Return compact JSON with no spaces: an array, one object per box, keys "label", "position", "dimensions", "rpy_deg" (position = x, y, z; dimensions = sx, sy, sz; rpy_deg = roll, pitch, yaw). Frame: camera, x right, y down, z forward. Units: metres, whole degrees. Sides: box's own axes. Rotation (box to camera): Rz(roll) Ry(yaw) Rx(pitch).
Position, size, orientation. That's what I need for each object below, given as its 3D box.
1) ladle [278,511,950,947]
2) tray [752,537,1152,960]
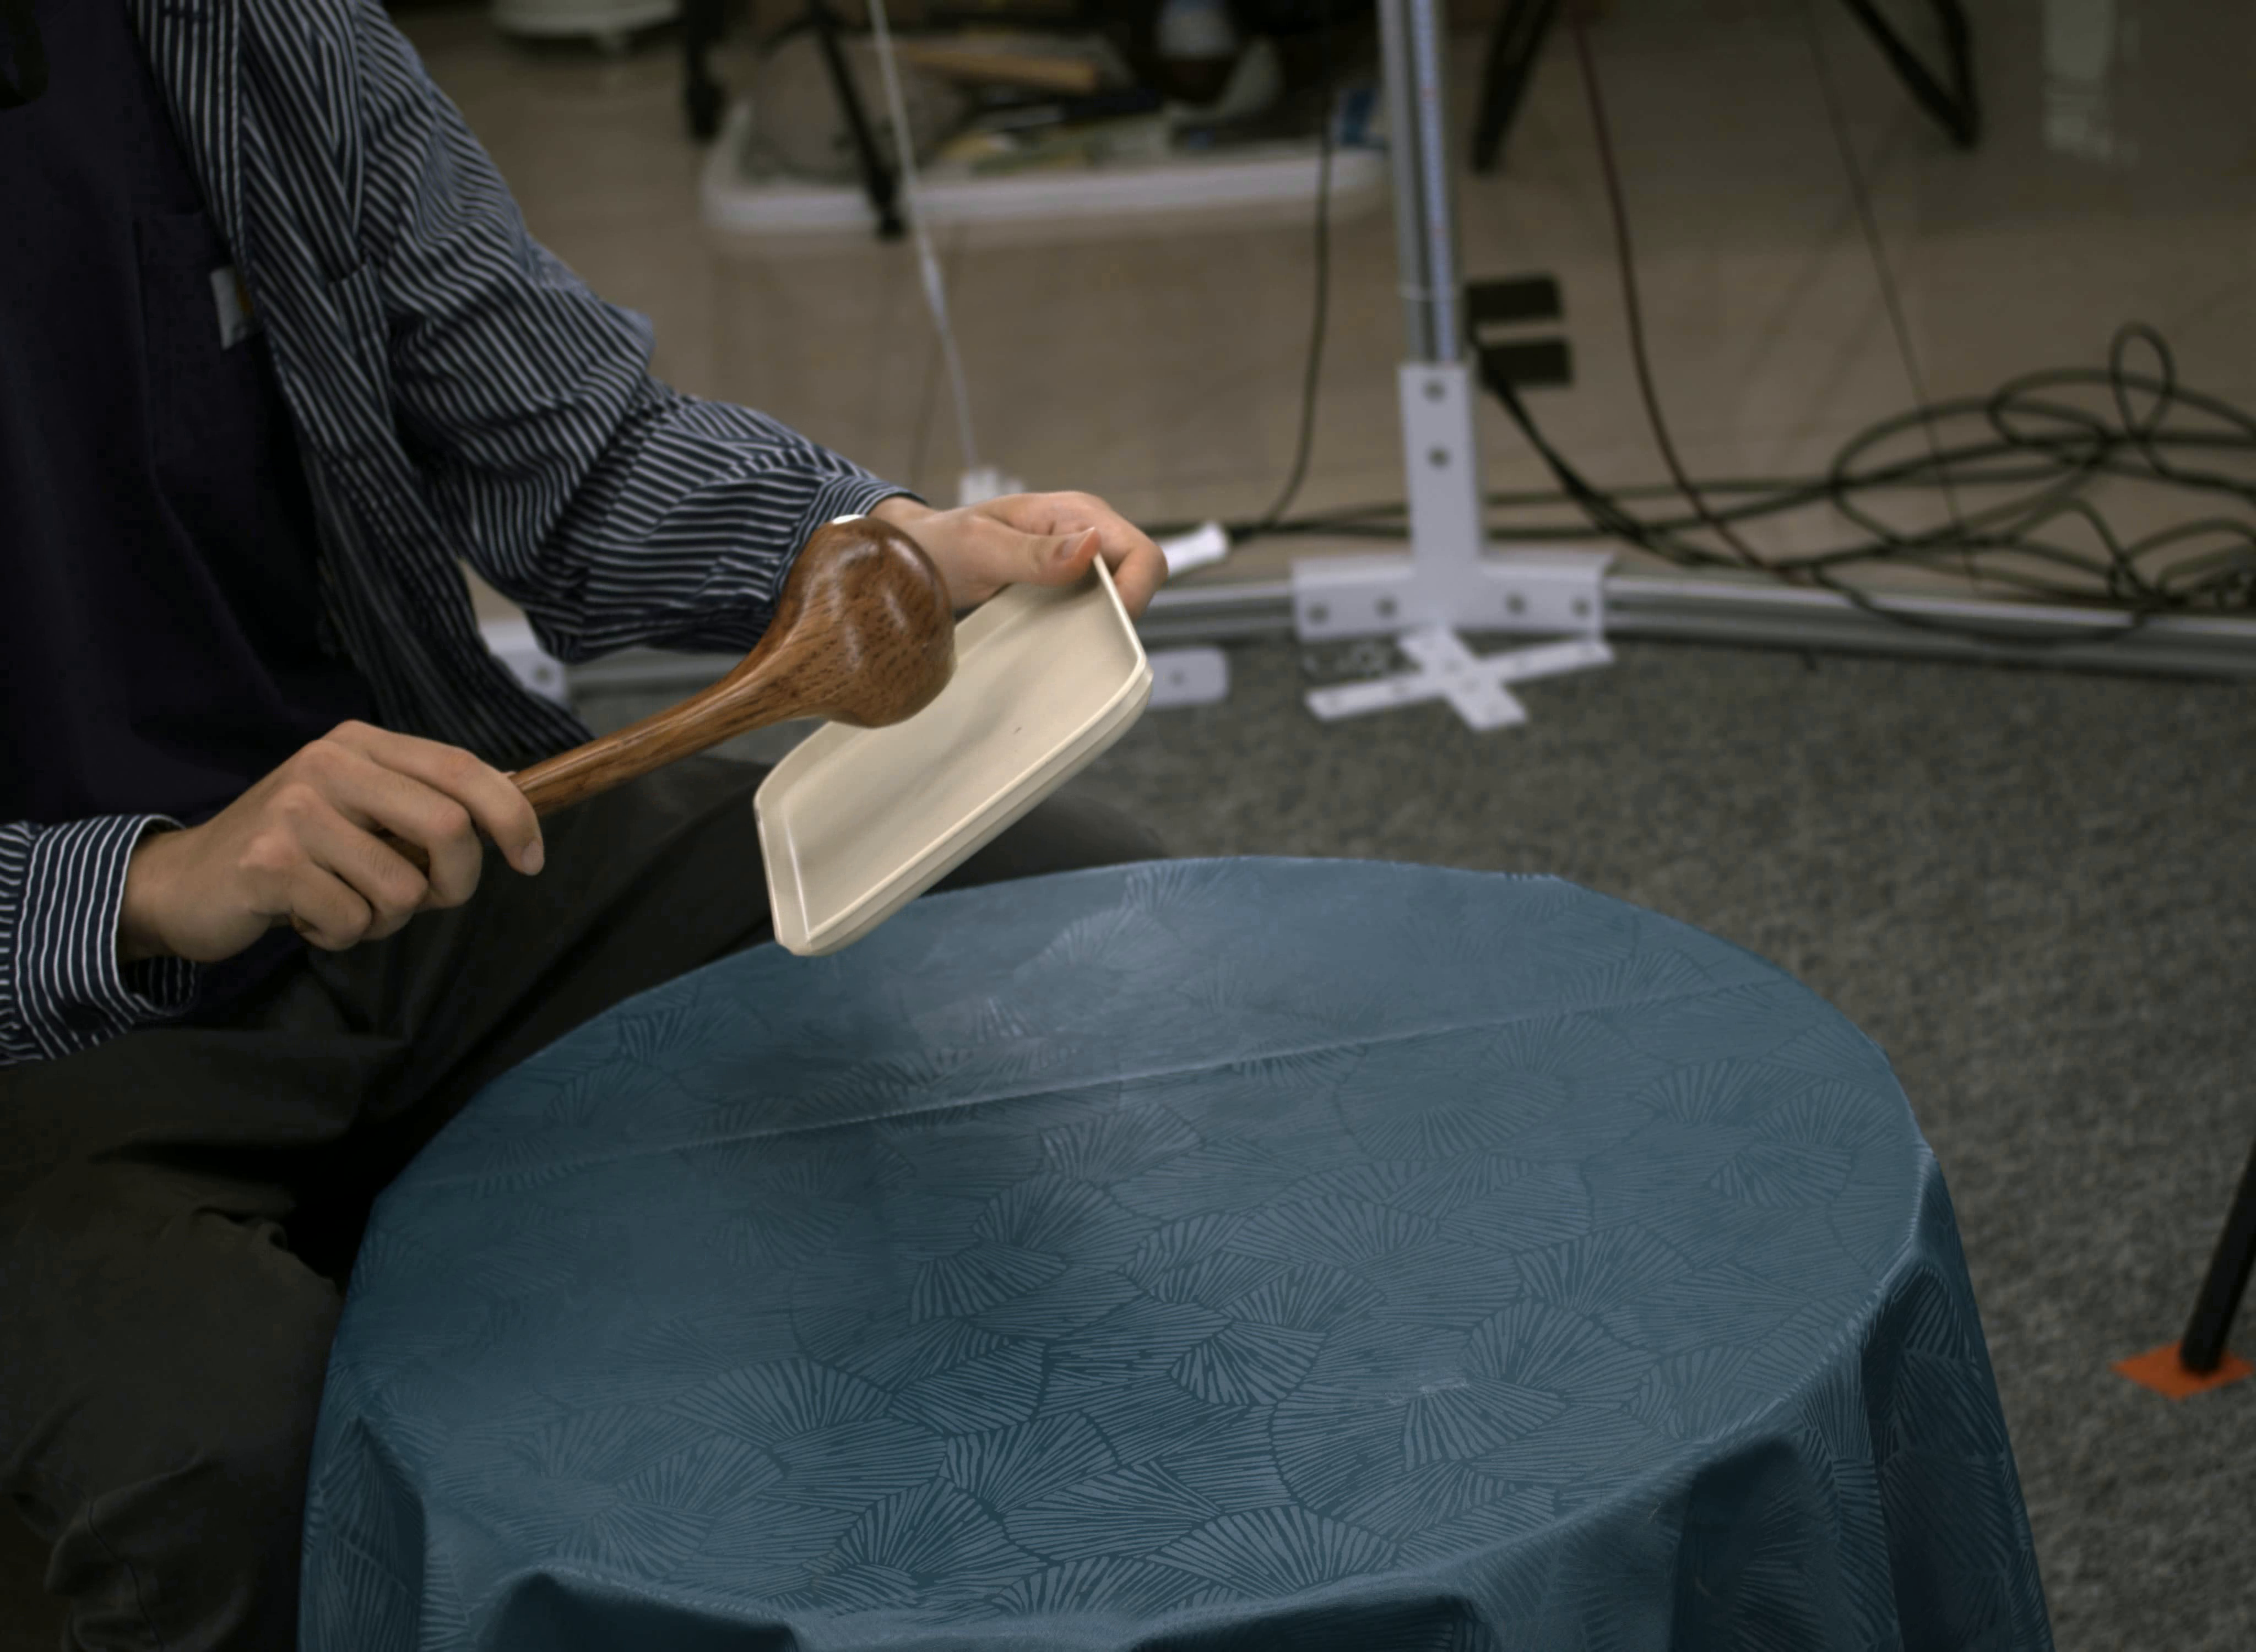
[{"label":"ladle","position":[-0.194,-0.034,2.123],"dimensions":[0.274,0.082,0.076],"rpy_deg":[-26,14,0]},{"label":"tray","position":[-0.067,-0.030,2.129],"dimensions":[0.171,0.017,0.237],"rpy_deg":[-38,17,6]}]
